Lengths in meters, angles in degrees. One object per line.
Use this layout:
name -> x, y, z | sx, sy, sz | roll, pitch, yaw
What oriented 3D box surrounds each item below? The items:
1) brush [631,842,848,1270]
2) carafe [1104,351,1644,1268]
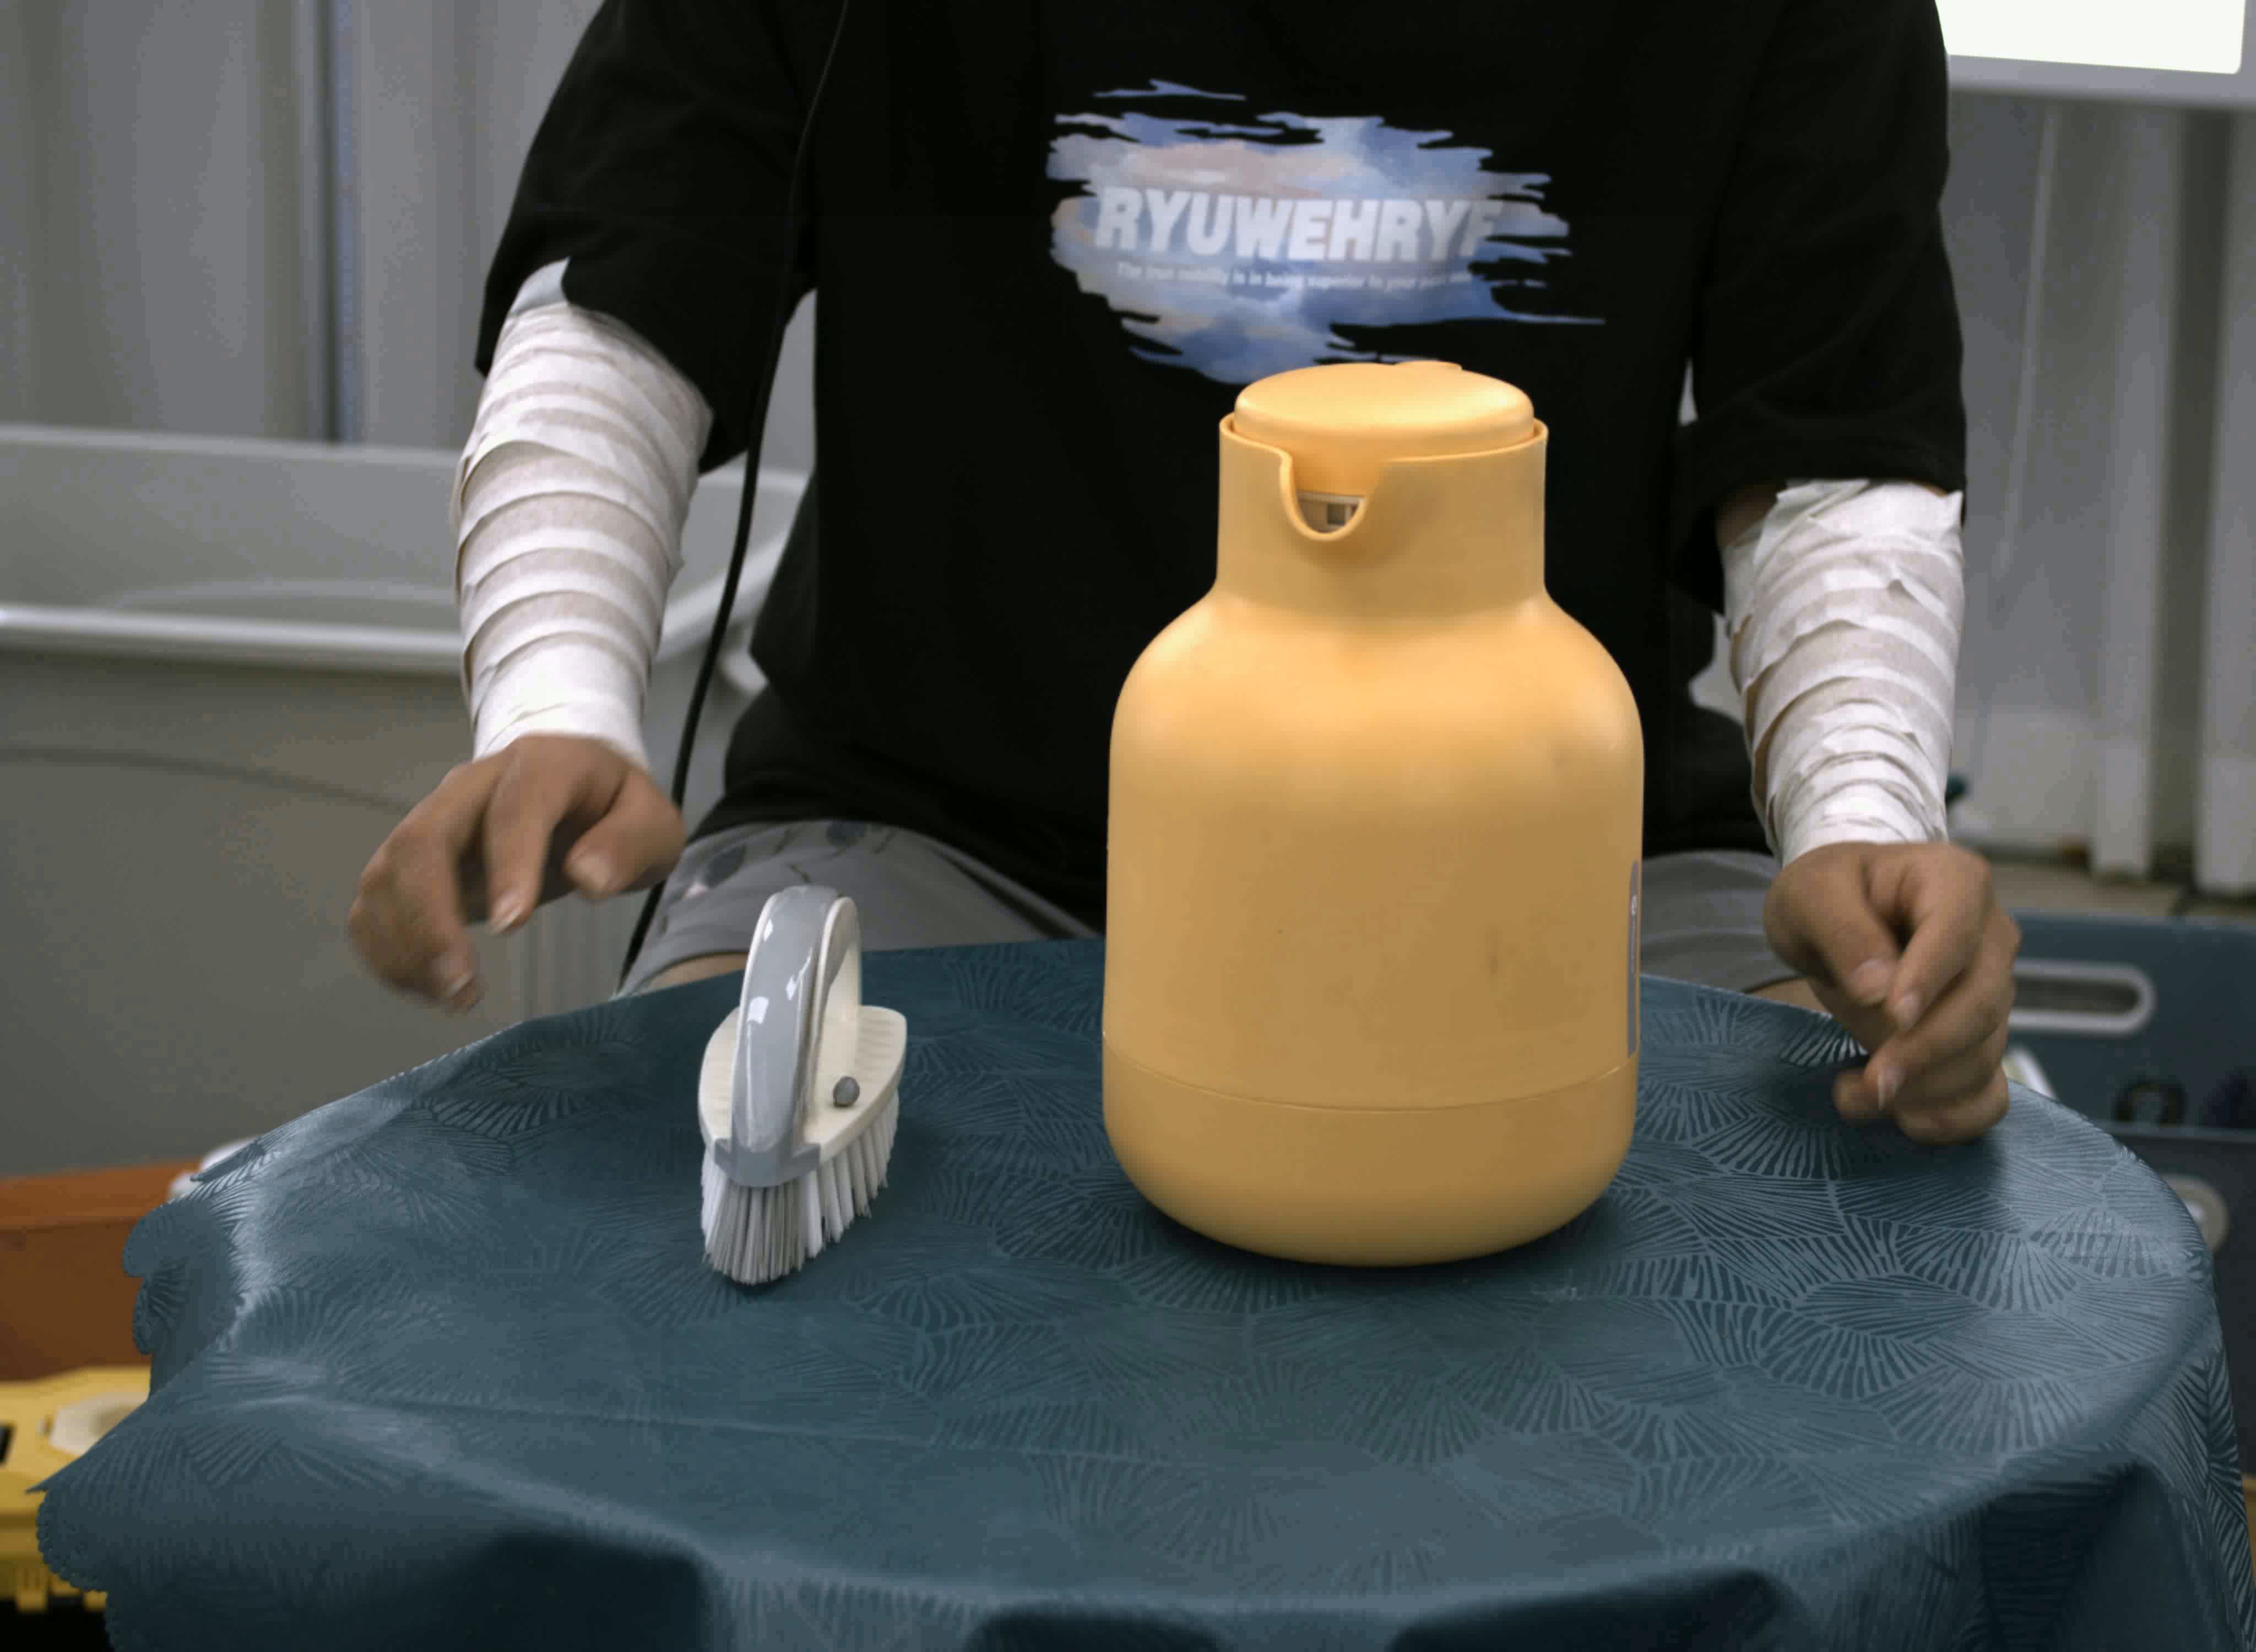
brush -> -0.117, 0.064, 1.611 | 0.061, 0.095, 0.174 | -8, 22, -10
carafe -> 0.082, -0.013, 1.593 | 0.162, 0.262, 0.202 | 7, 18, 17
